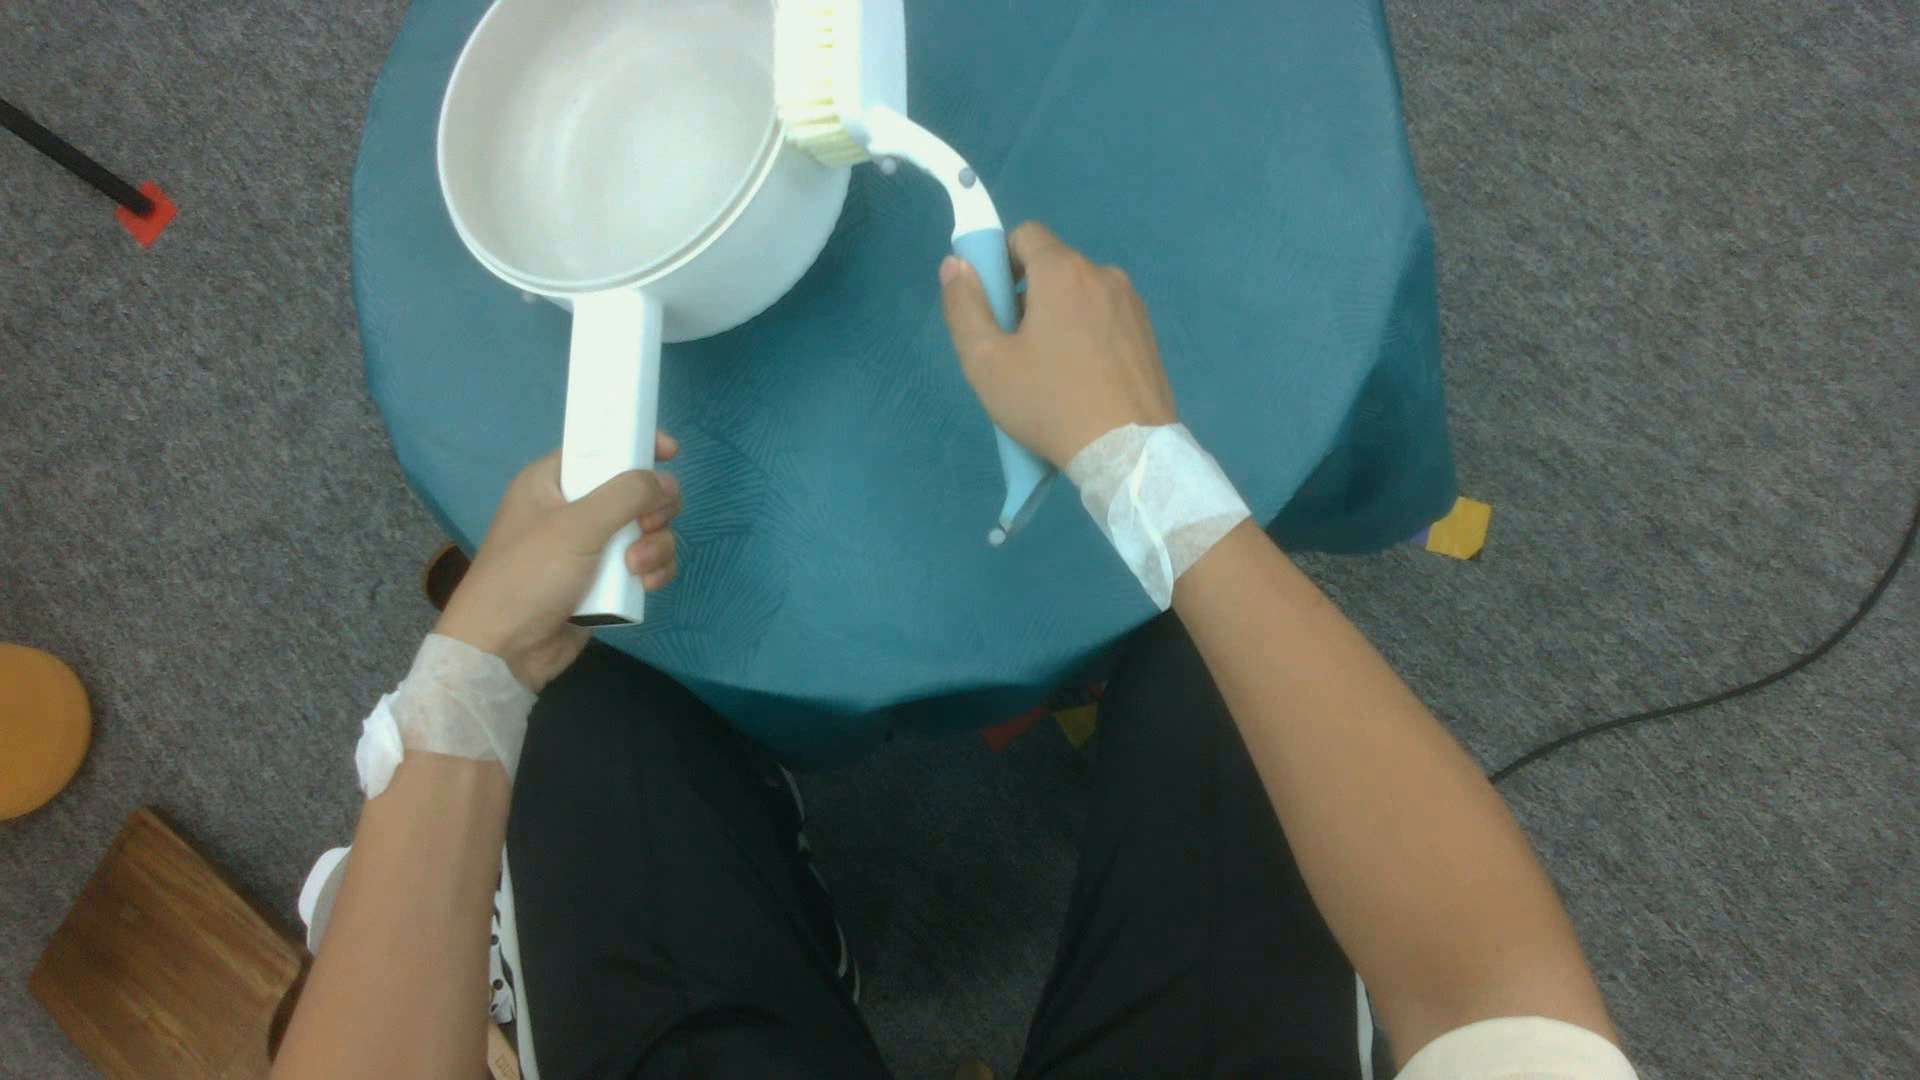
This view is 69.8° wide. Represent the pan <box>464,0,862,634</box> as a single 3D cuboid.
[{"bbox_3d":[-0.151,-0.124,0.715,0.201,0.102,0.355,-5,76,19],"label":"pan"}]

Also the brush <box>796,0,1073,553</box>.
[{"bbox_3d":[-0.029,-0.144,0.648,0.083,0.084,0.326,-5,77,-35],"label":"brush"}]
